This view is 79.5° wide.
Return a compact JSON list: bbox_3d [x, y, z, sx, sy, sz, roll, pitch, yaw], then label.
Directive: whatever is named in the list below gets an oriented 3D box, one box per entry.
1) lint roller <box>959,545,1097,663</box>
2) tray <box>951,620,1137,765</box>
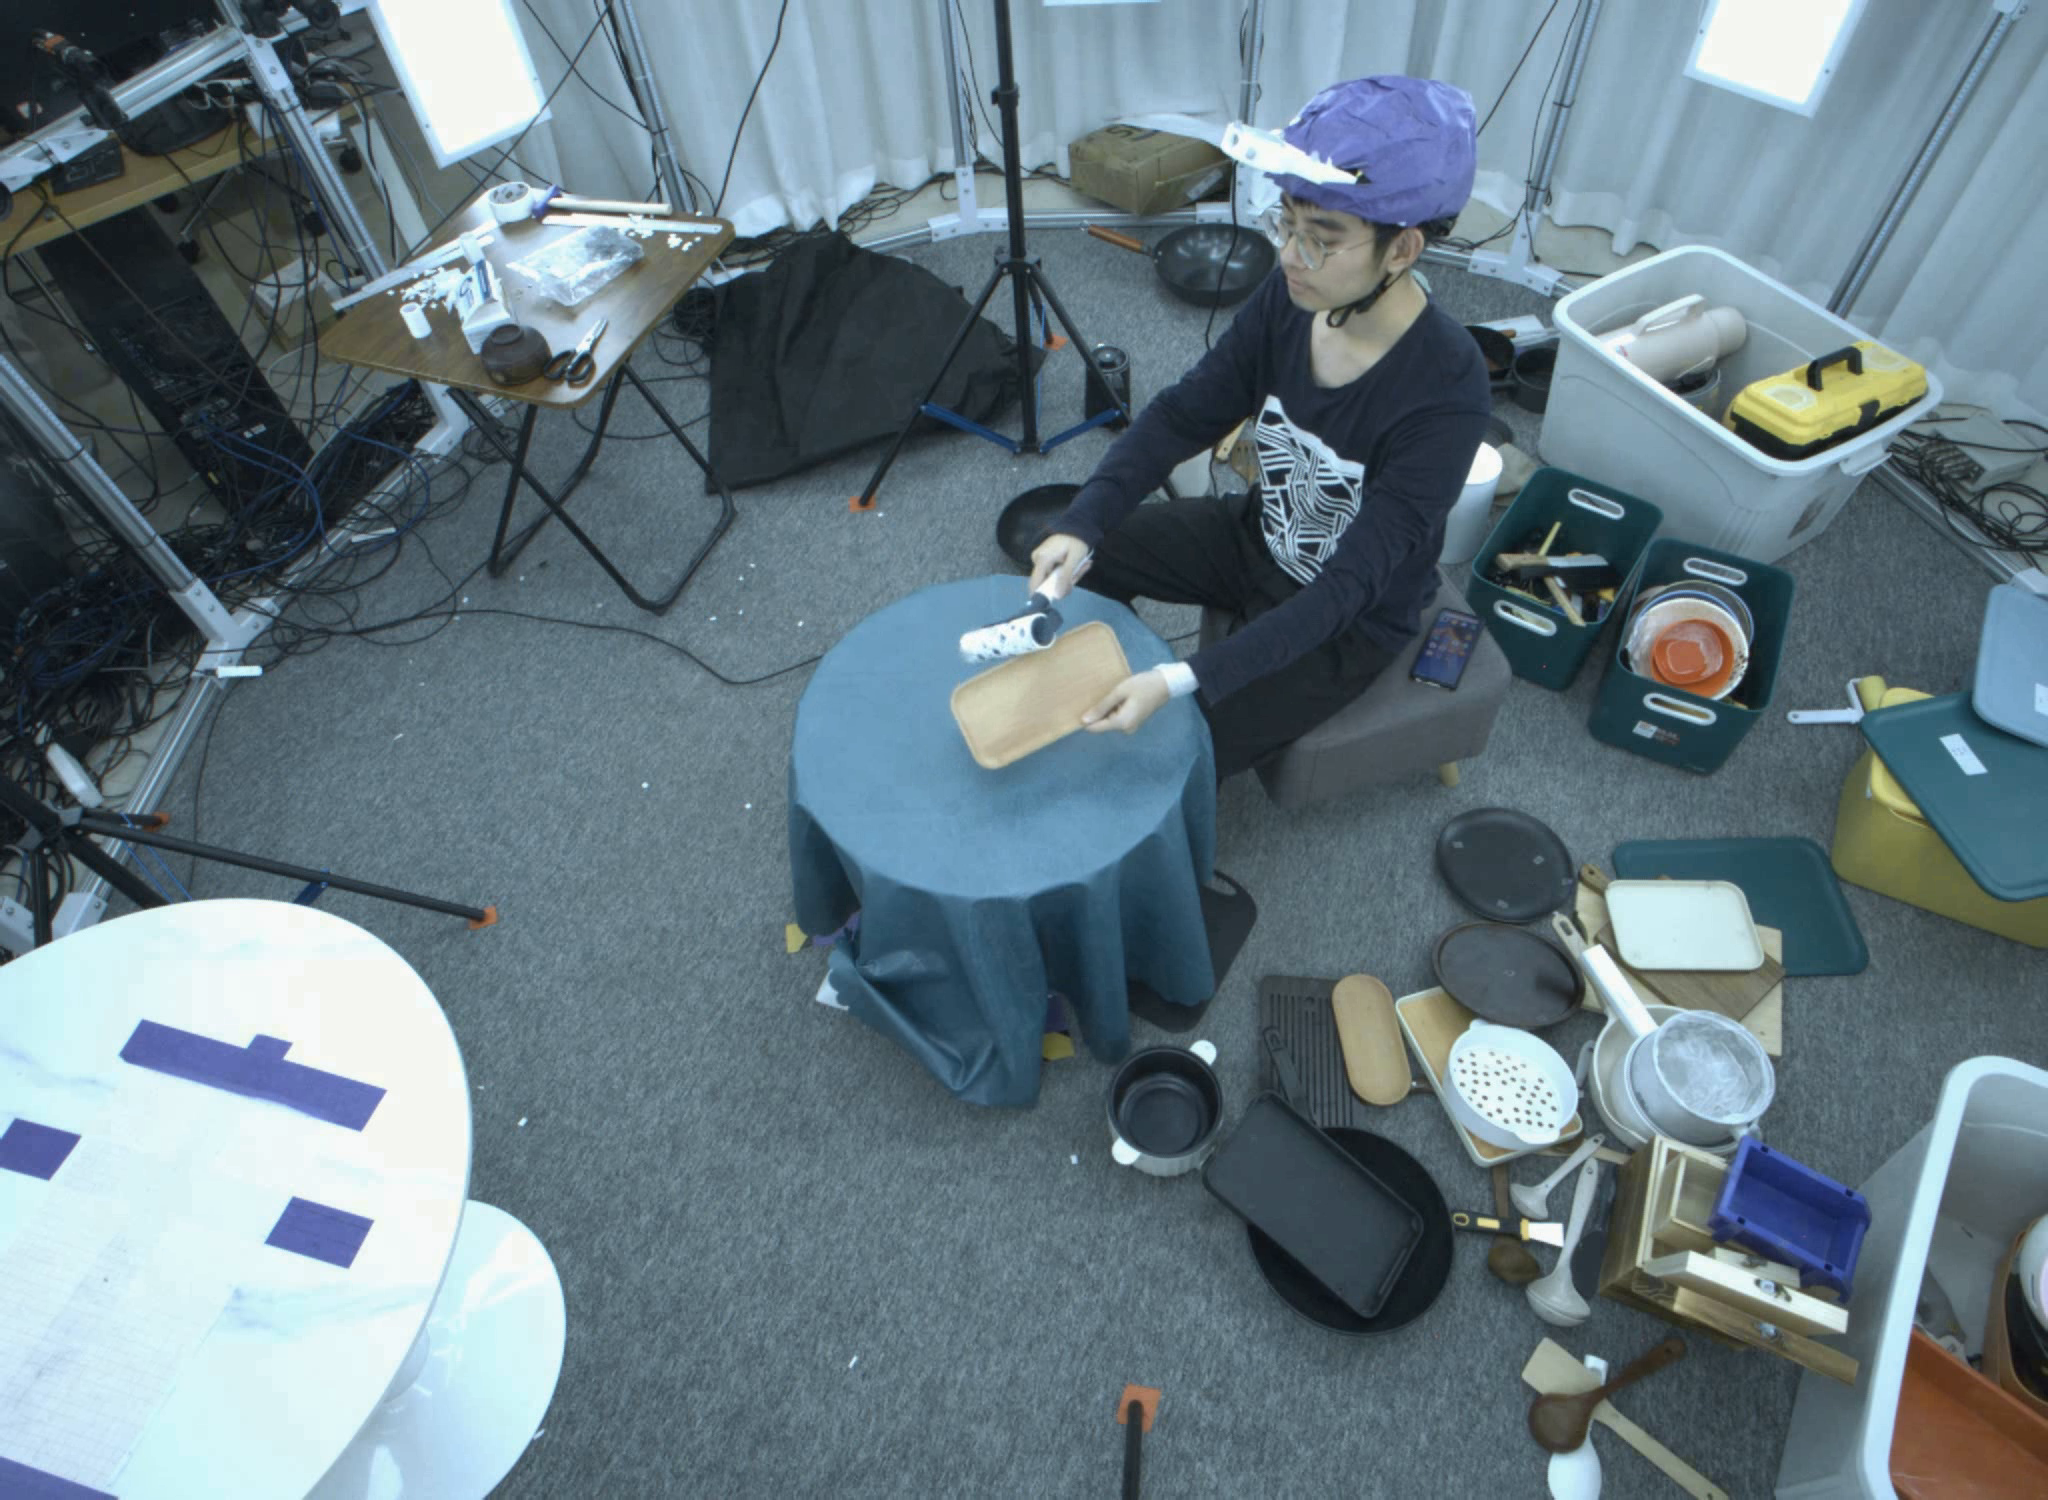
[{"bbox_3d":[0.026,-0.221,1.747,0.173,0.051,0.248,-9,35,51],"label":"lint roller"},{"bbox_3d":[0.028,-0.081,1.701,0.252,0.131,0.022,-25,15,-10],"label":"tray"}]
